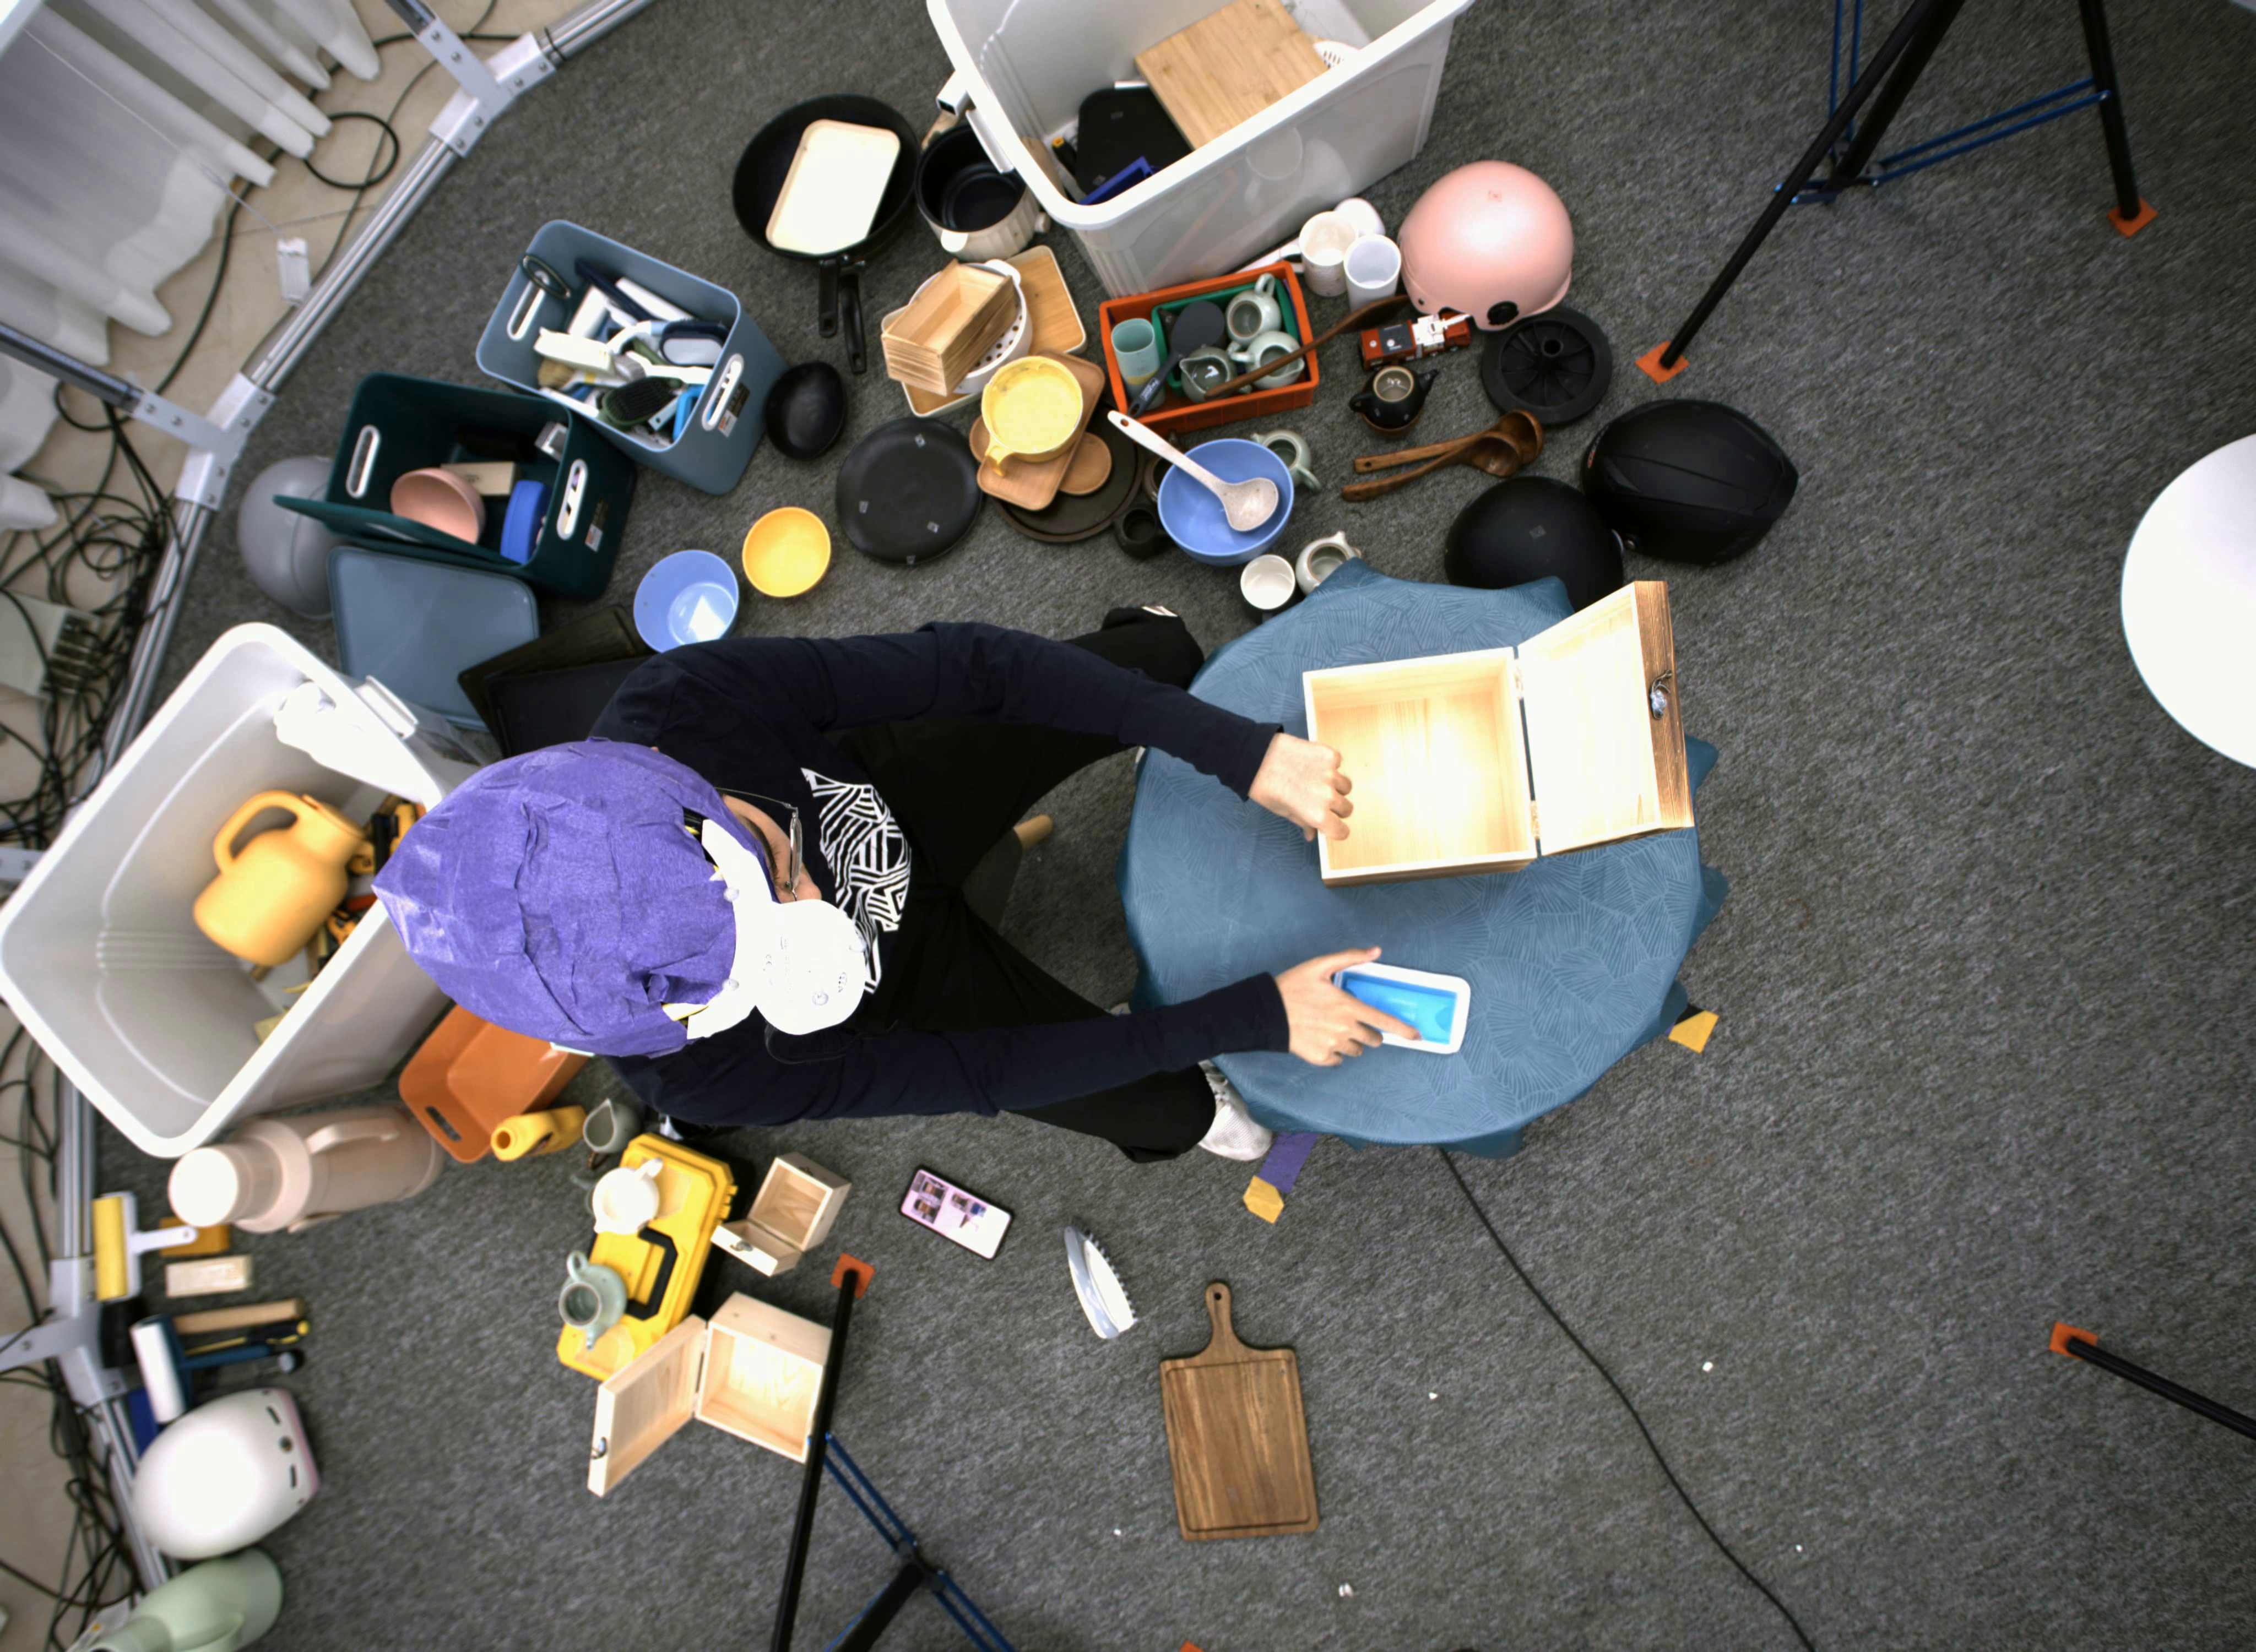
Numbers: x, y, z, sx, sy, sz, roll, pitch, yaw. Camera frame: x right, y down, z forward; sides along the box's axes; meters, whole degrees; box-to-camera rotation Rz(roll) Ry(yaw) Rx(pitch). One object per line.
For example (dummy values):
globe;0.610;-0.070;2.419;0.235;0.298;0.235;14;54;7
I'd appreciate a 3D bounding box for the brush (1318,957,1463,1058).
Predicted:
brush;0.271;0.184;1.422;0.144;0.056;0.083;12;85;9

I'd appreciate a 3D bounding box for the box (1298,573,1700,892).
box;0.320;-0.070;1.273;0.323;0.376;0.207;-6;83;10
